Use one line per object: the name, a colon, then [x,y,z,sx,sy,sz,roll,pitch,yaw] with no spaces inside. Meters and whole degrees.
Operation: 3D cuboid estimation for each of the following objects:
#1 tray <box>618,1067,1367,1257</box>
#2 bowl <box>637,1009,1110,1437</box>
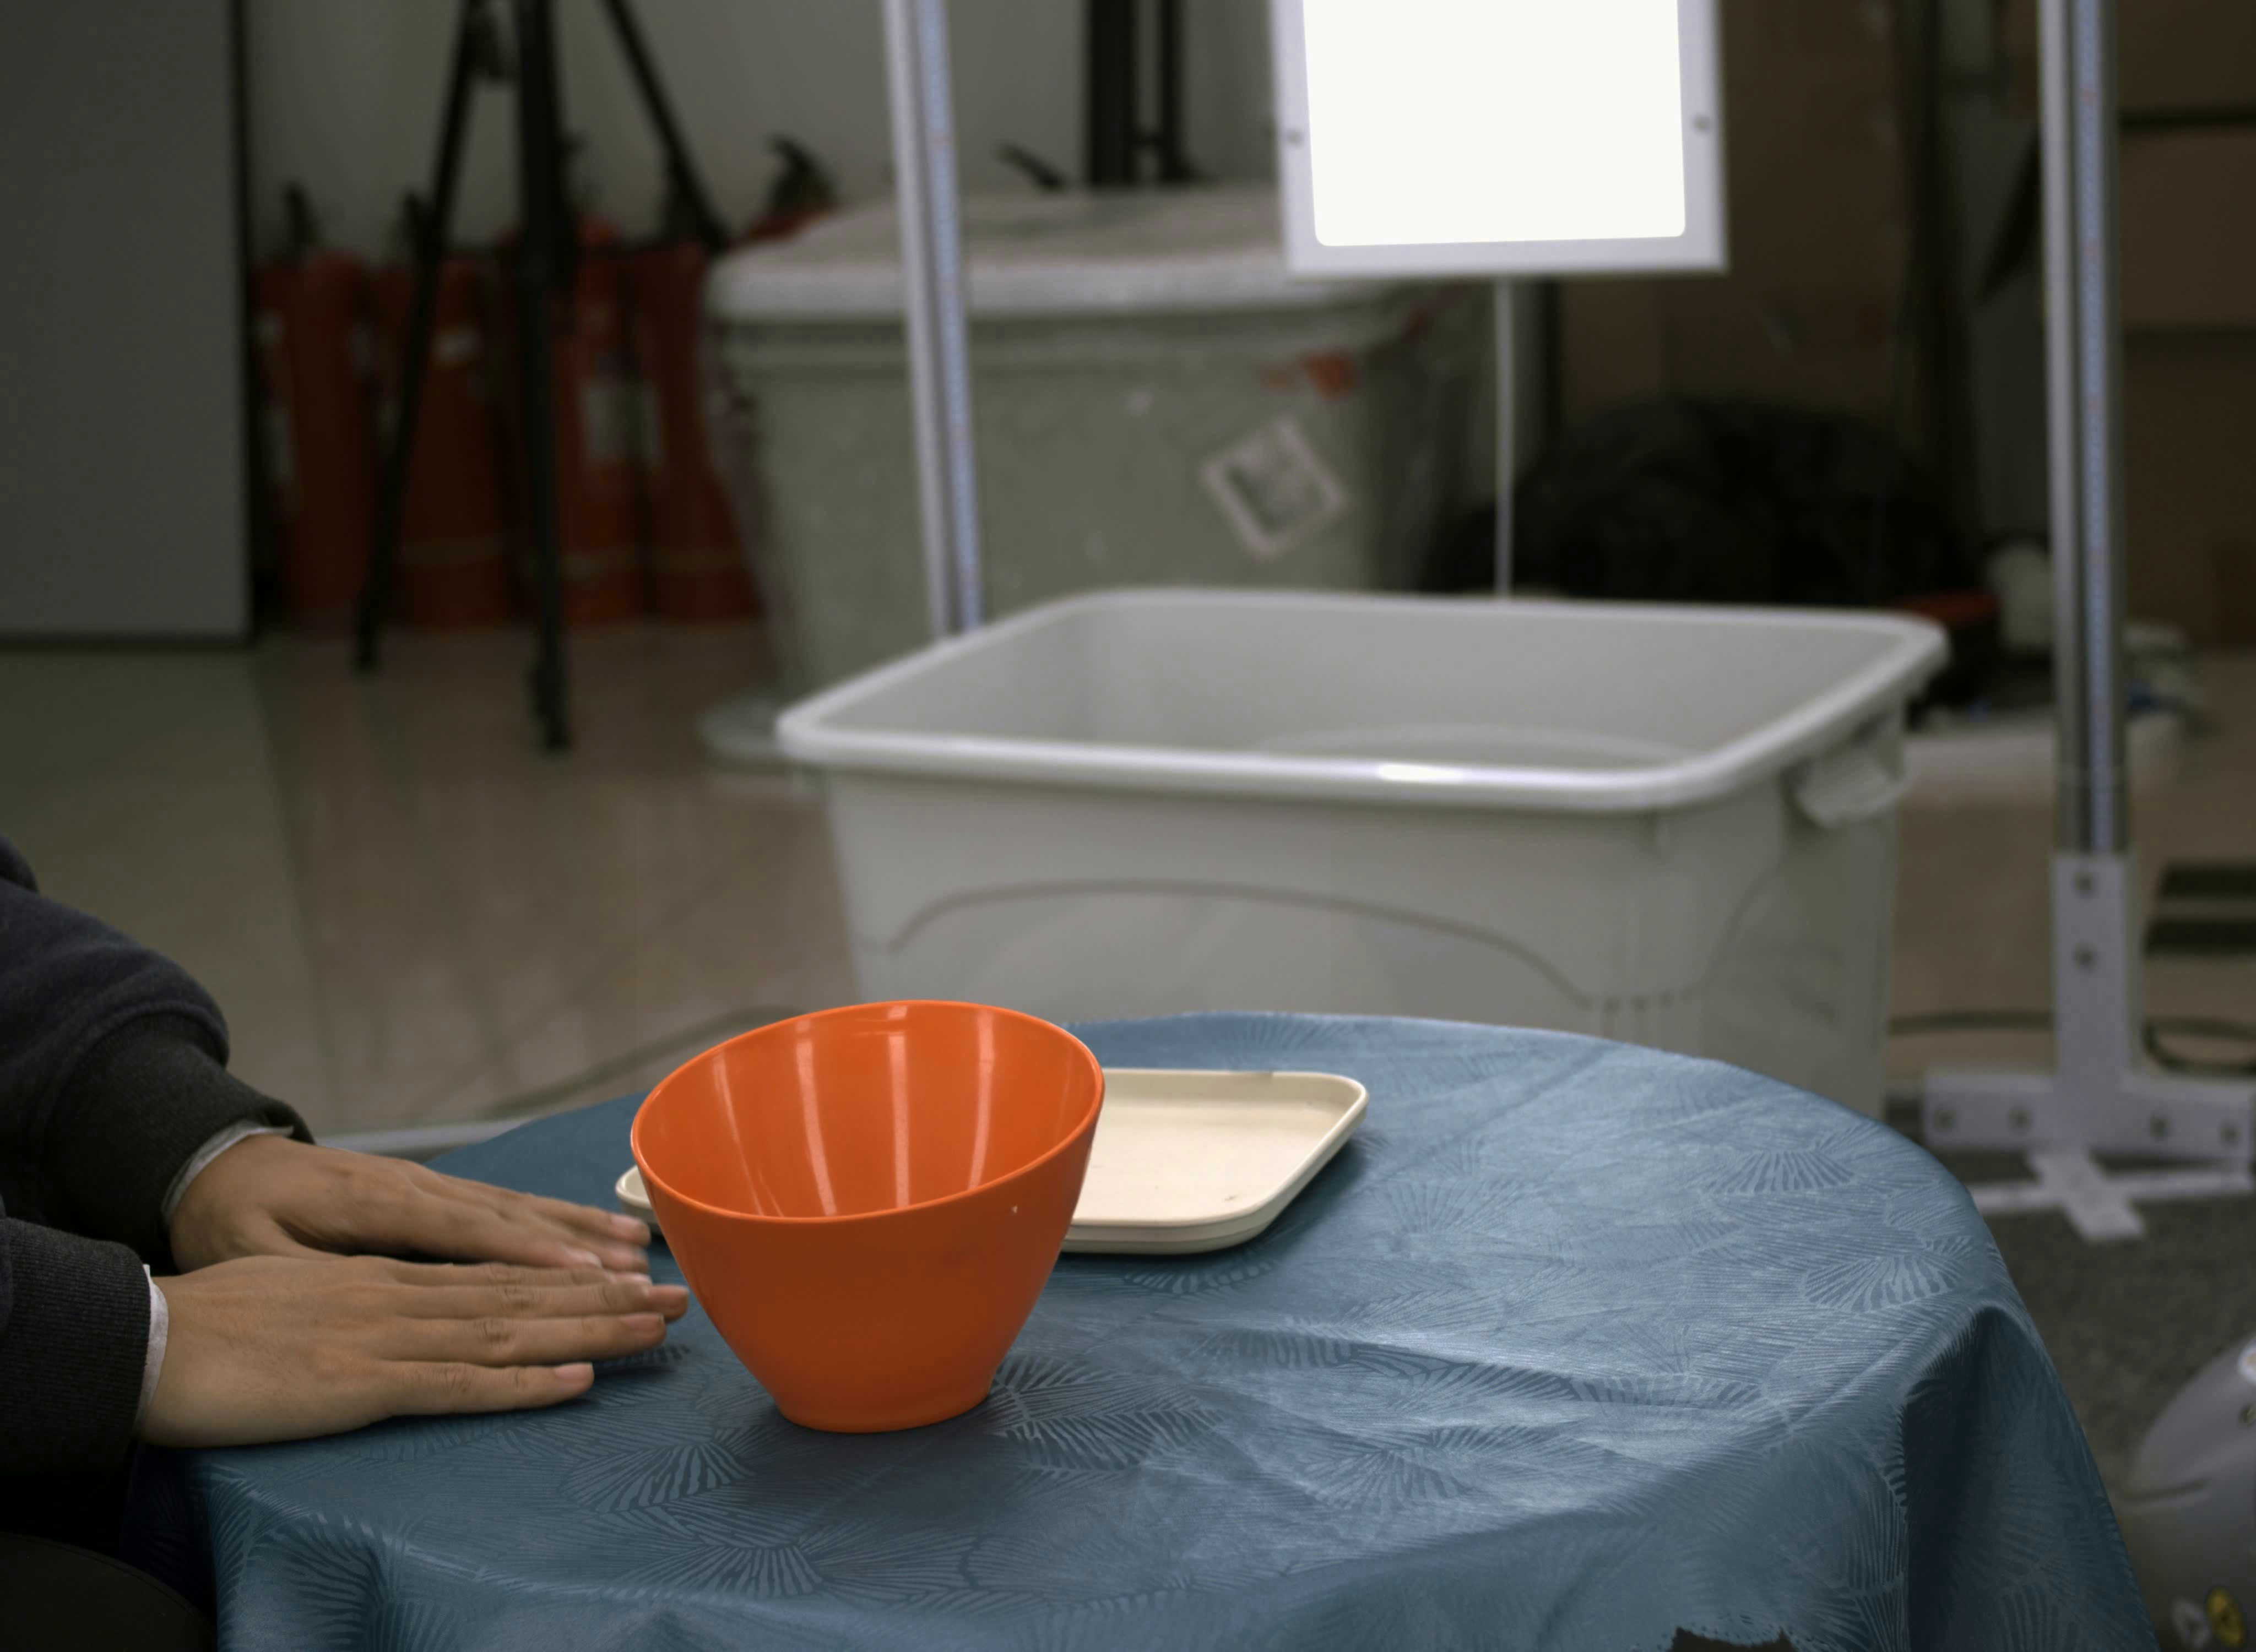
tray: [-0.045,0.116,1.920,0.243,0.017,0.168,0,15,21]
bowl: [-0.077,0.127,1.713,0.147,0.105,0.148,-3,13,-1]
